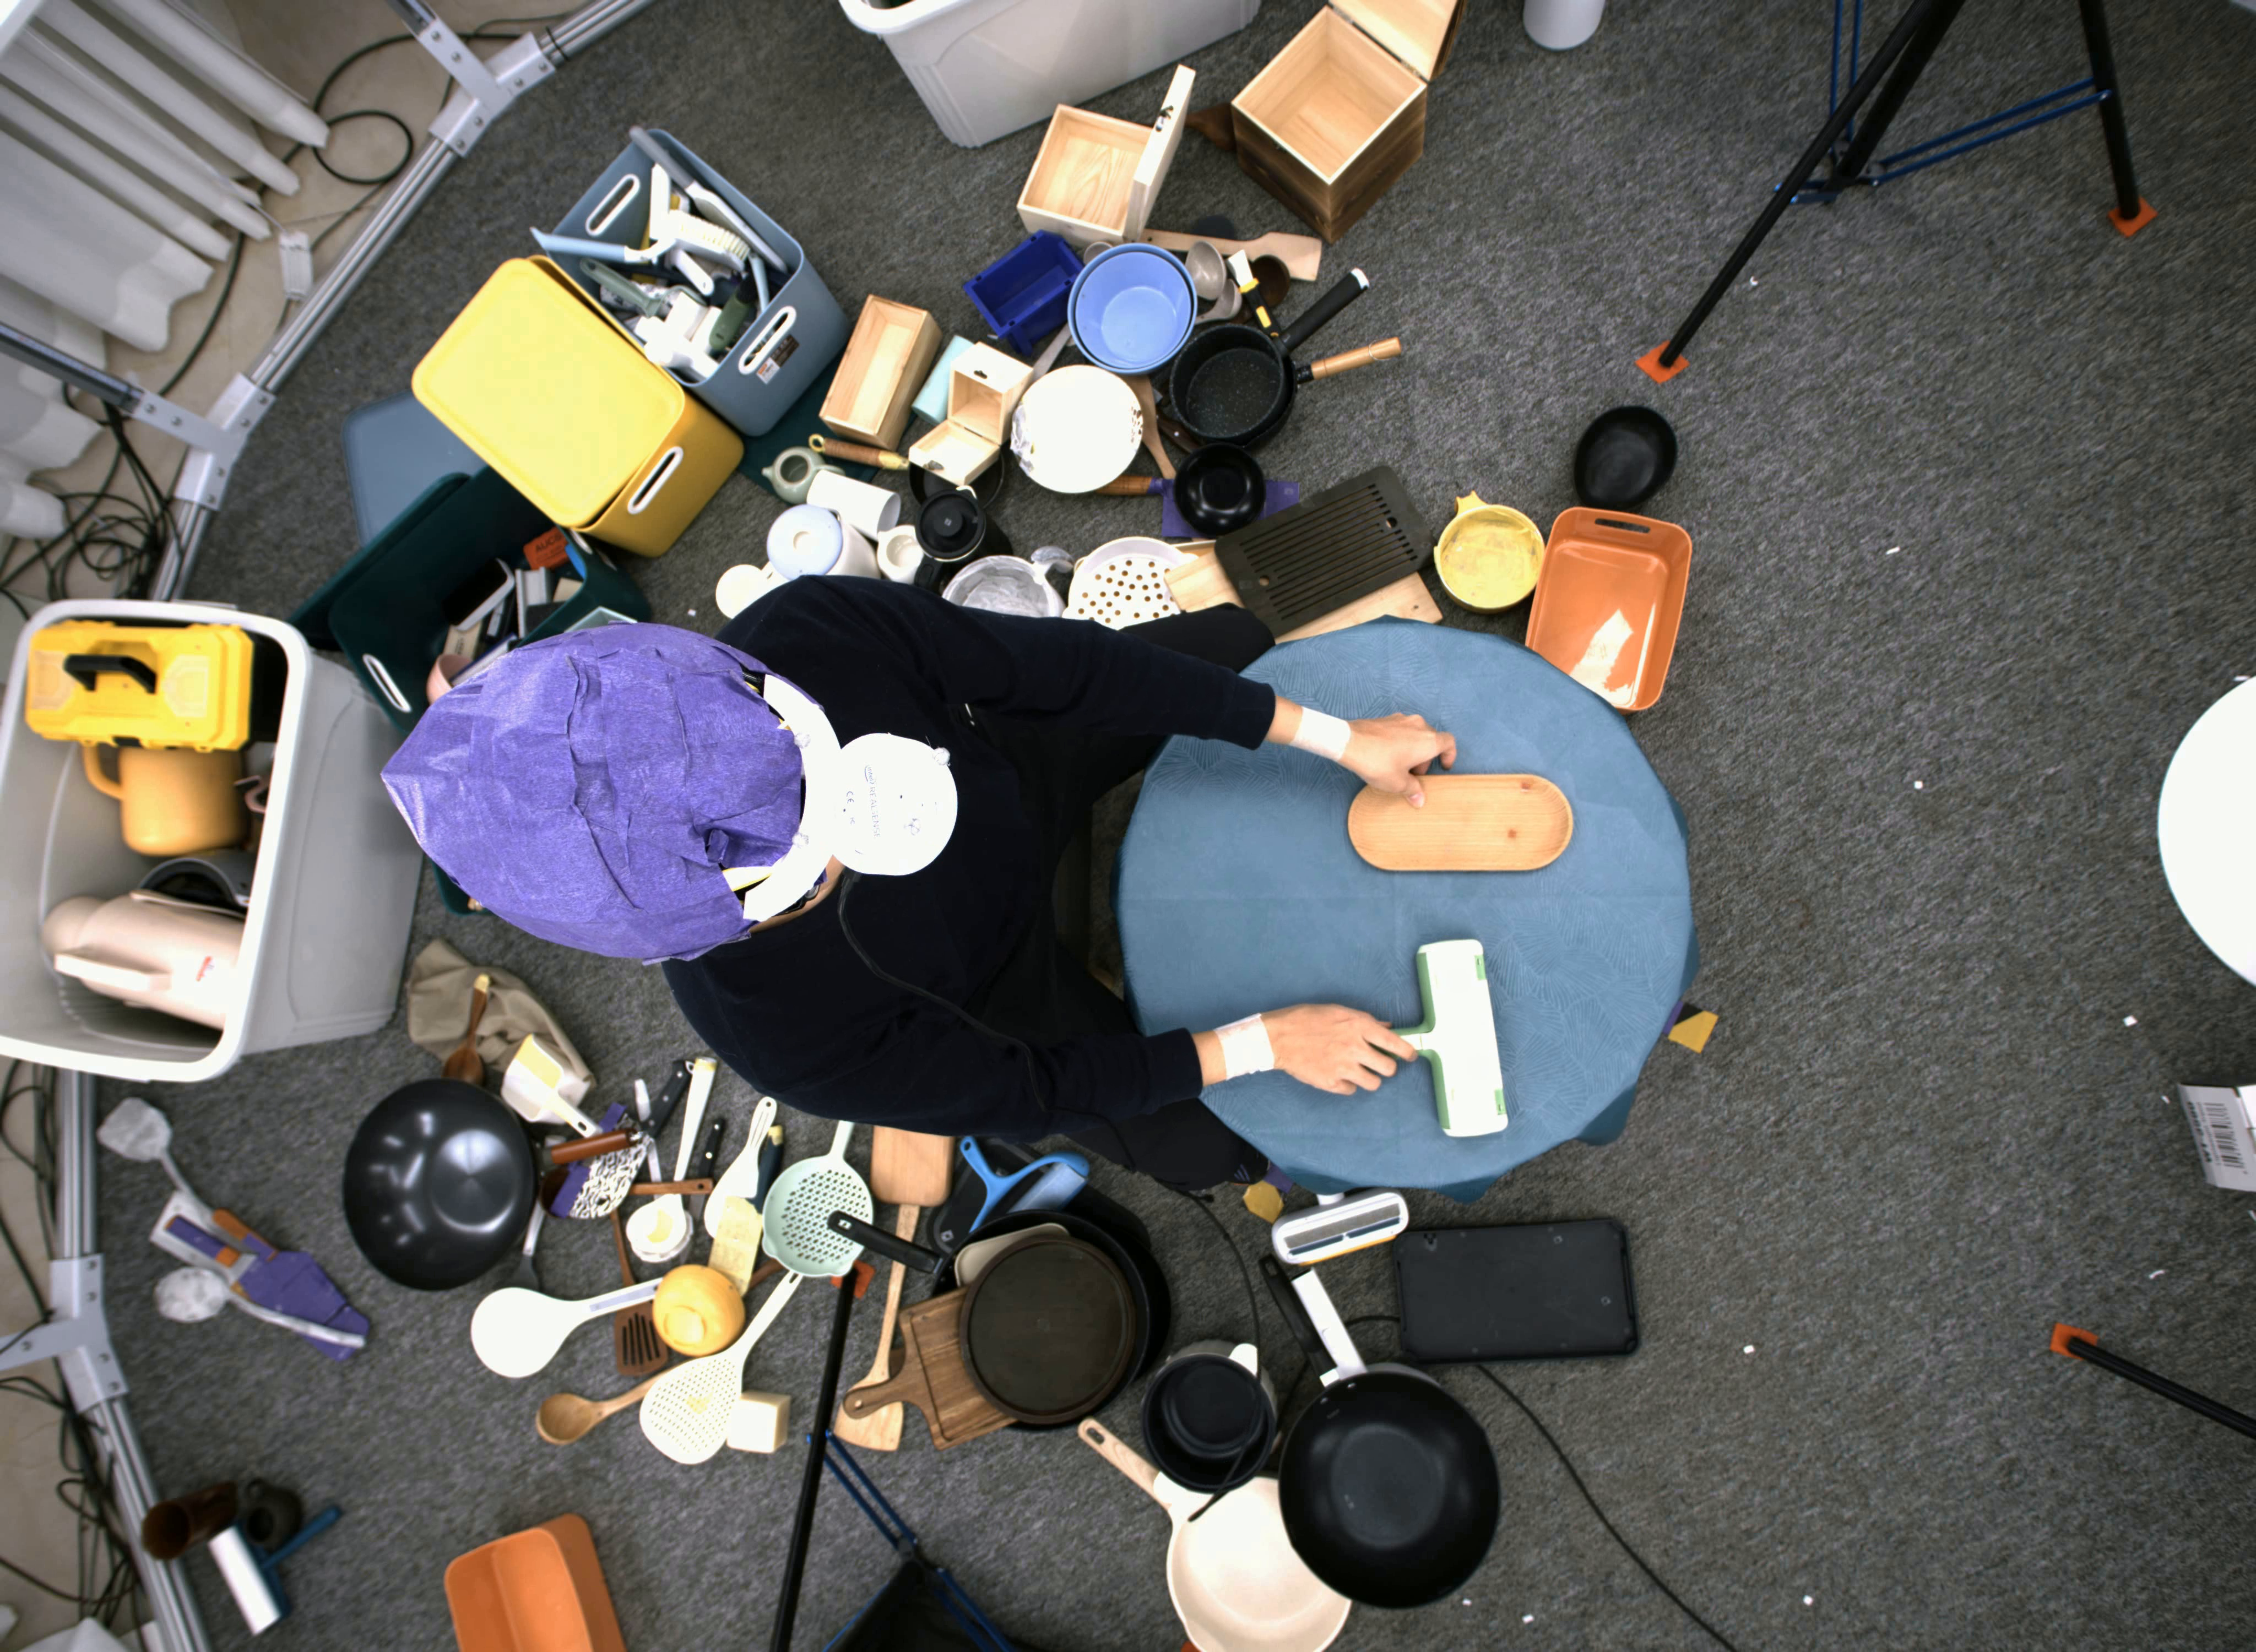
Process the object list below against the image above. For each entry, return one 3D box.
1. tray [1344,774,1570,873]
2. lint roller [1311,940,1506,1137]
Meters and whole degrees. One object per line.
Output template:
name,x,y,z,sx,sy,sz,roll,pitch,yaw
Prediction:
tray,0.343,-0.004,1.441,0.232,0.020,0.101,-1,89,12
lint roller,0.279,0.221,1.406,0.184,0.082,0.197,-8,84,4
